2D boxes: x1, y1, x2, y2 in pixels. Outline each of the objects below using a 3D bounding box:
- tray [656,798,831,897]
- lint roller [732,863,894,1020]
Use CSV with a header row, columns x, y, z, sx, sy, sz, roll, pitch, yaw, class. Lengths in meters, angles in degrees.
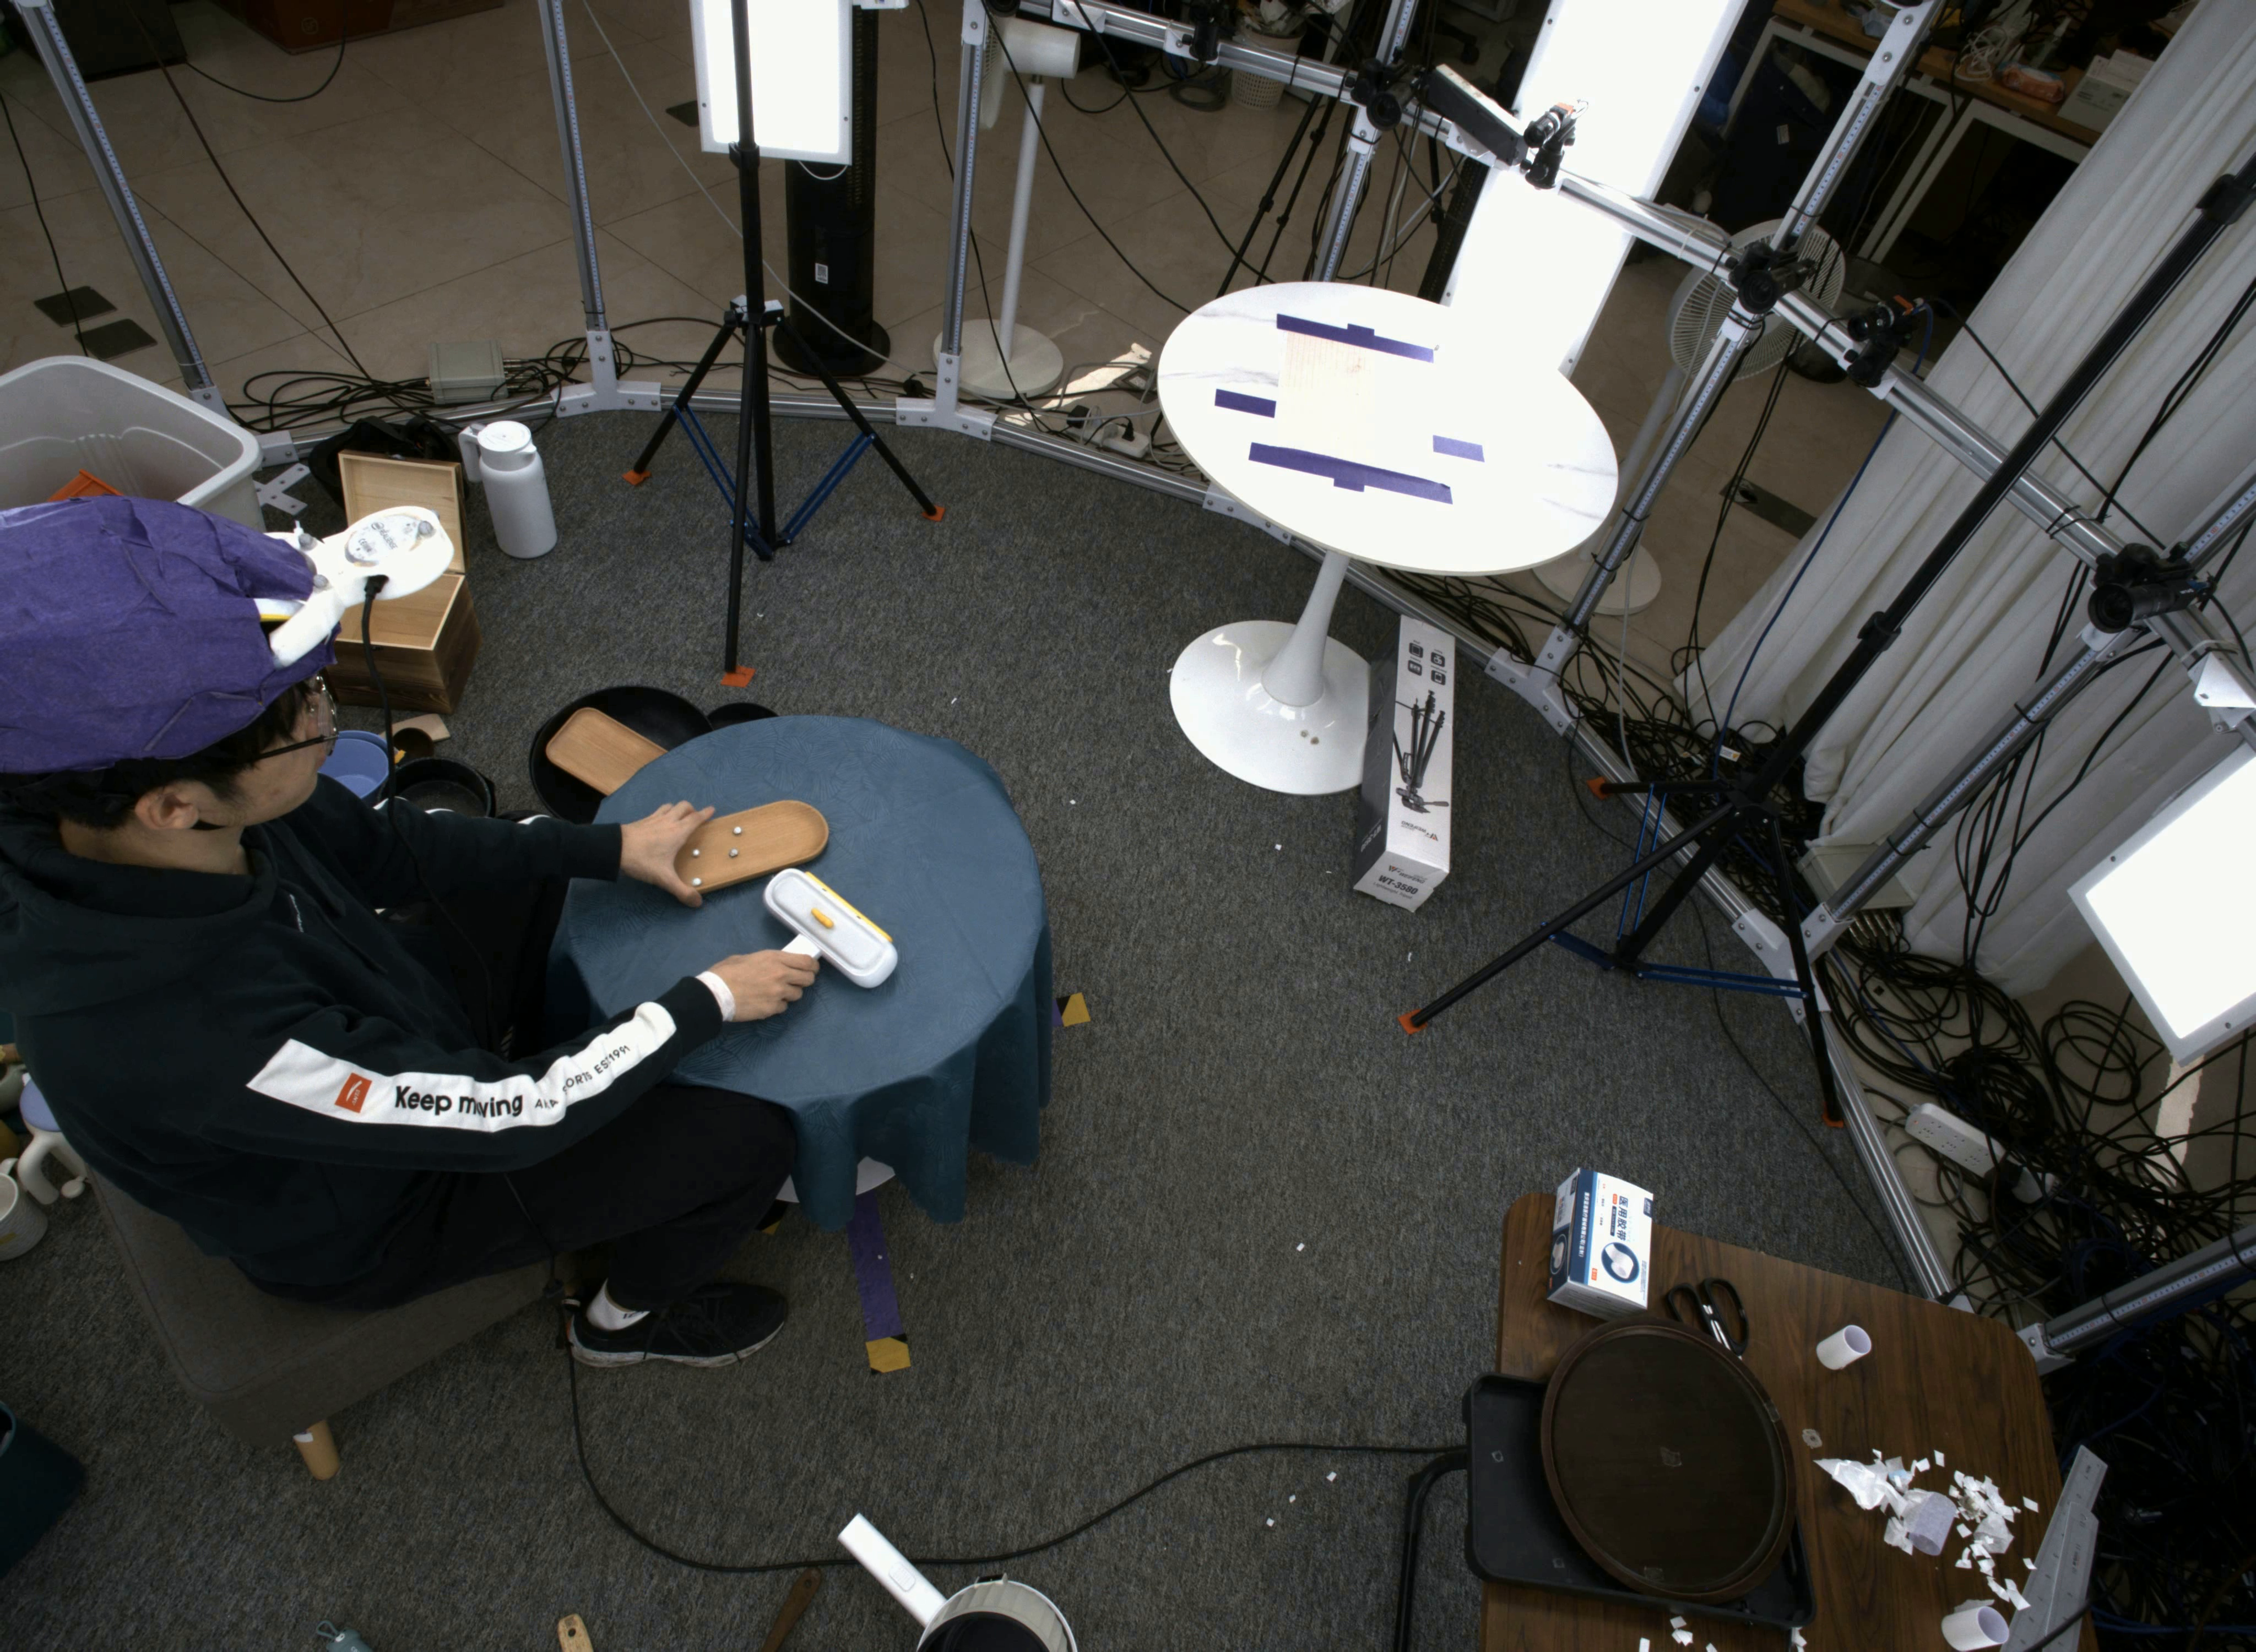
x,y,z,sx,sy,sz,roll,pitch,yaw,class
-0.497,0.025,1.676,0.233,0.020,0.099,-20,62,-31,tray
-0.407,0.157,1.580,0.191,0.075,0.192,36,65,4,lint roller
